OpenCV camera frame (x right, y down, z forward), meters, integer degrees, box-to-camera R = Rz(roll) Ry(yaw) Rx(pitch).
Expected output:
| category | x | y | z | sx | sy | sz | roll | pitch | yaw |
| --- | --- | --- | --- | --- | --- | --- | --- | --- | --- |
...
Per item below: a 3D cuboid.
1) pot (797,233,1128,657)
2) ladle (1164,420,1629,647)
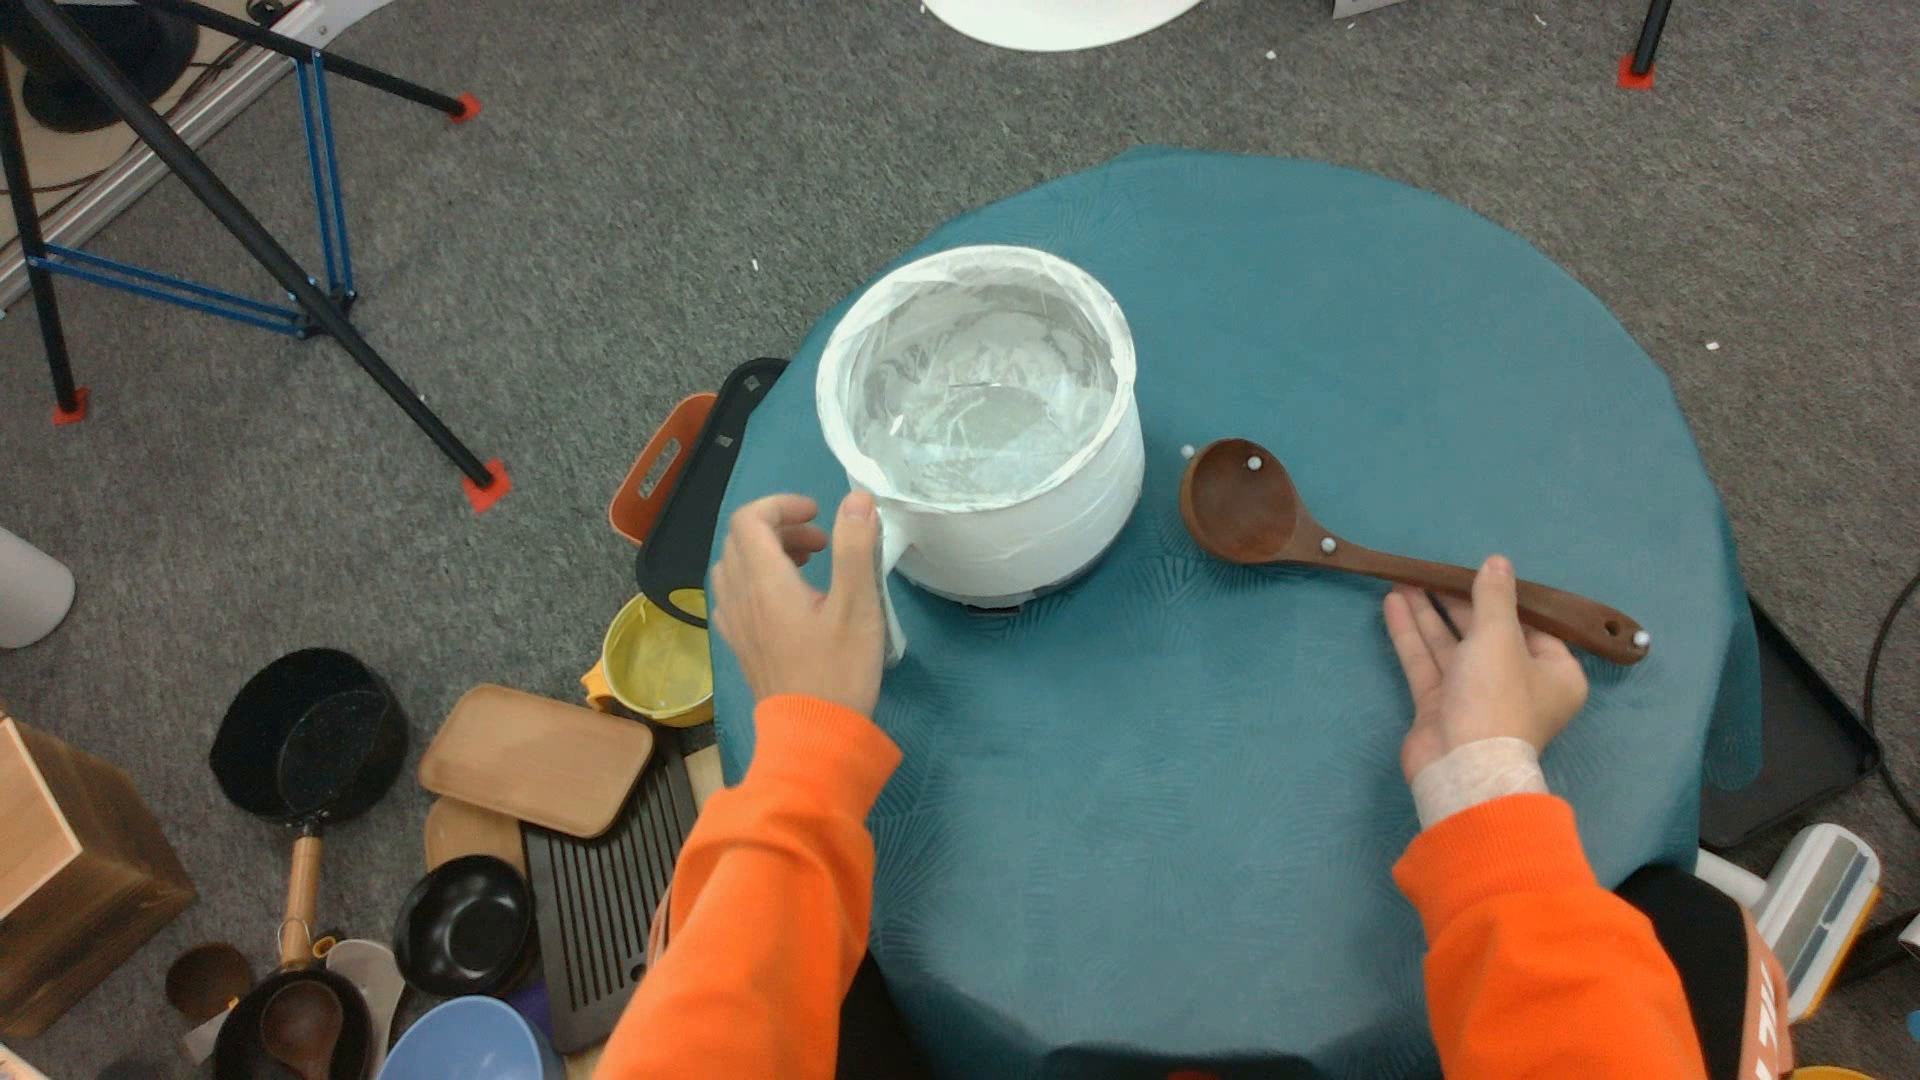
| category | x | y | z | sx | sy | sz | roll | pitch | yaw |
| --- | --- | --- | --- | --- | --- | --- | --- | --- | --- |
| pot | -0.007 | -0.046 | 0.793 | 0.178 | 0.136 | 0.234 | 25 | 69 | 22 |
| ladle | 0.238 | -0.001 | 0.763 | 0.260 | 0.065 | 0.077 | 20 | 71 | 22 |
